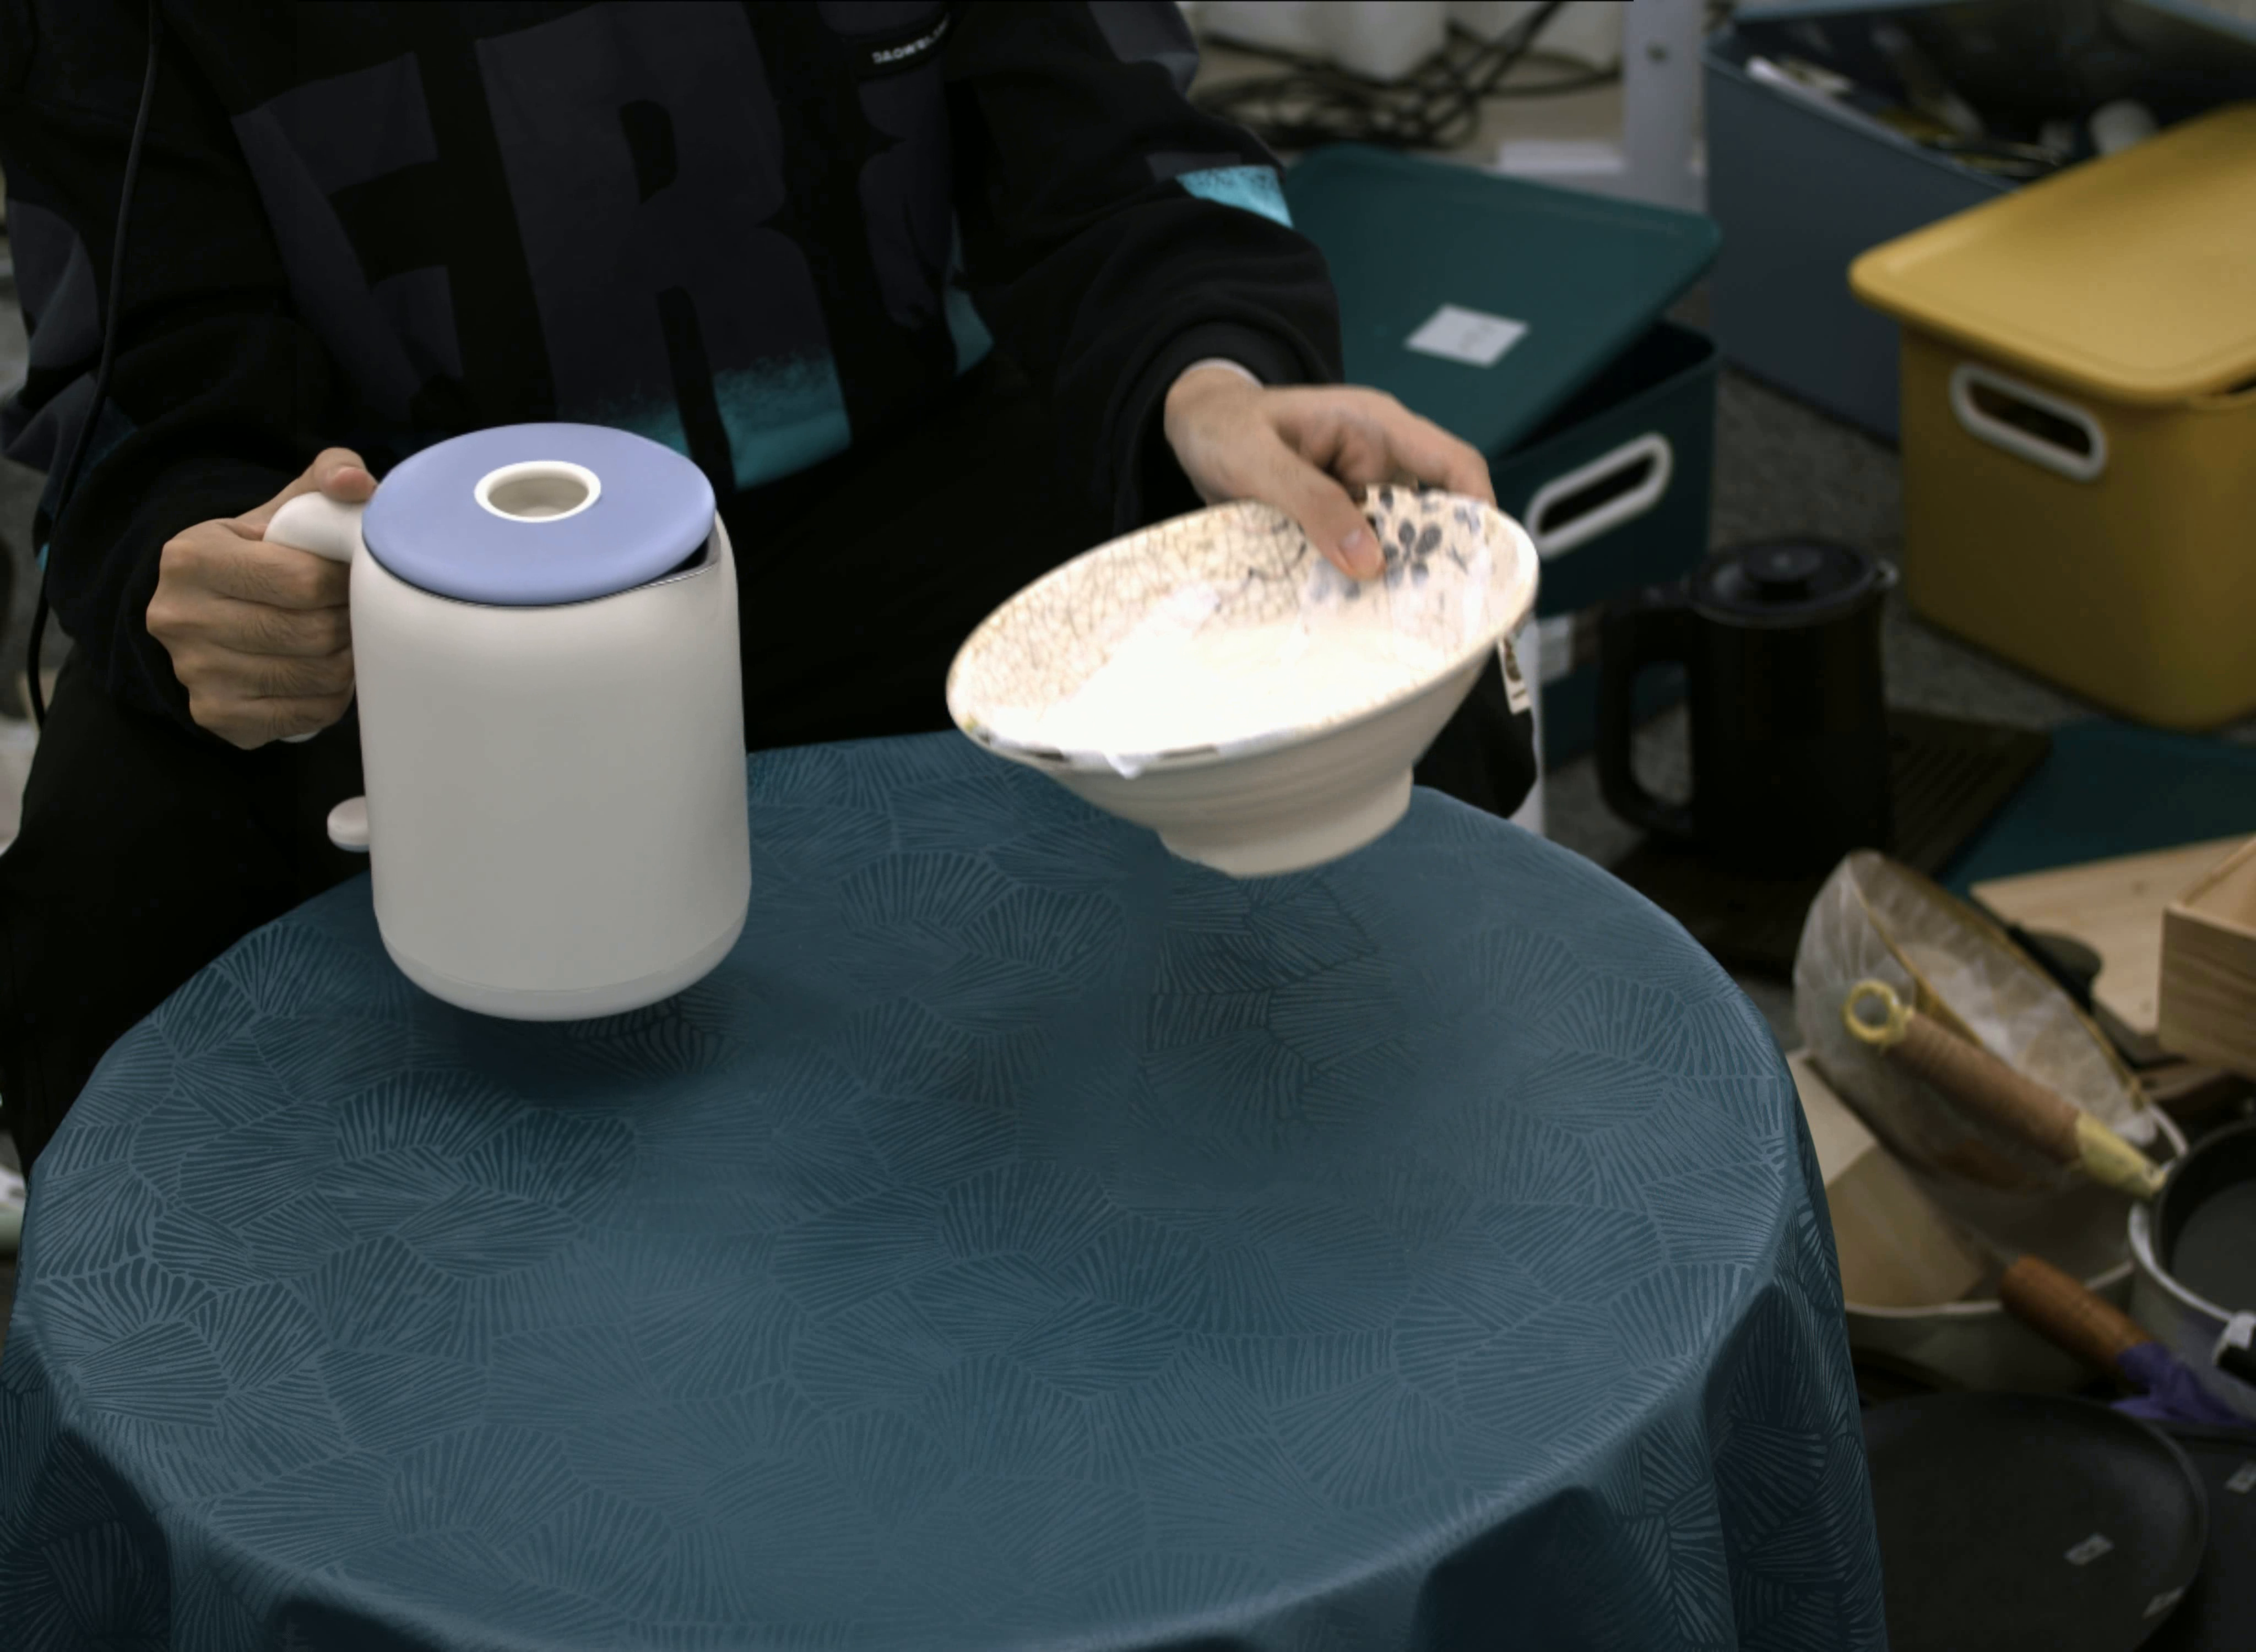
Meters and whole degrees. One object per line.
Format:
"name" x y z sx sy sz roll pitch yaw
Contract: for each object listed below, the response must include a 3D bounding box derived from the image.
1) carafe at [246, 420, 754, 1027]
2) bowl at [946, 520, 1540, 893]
"carafe" -0.218 -0.040 1.924 0.190 0.180 0.134 11 31 22
"bowl" 0.046 -0.030 1.892 0.203 0.077 0.206 -12 21 5
